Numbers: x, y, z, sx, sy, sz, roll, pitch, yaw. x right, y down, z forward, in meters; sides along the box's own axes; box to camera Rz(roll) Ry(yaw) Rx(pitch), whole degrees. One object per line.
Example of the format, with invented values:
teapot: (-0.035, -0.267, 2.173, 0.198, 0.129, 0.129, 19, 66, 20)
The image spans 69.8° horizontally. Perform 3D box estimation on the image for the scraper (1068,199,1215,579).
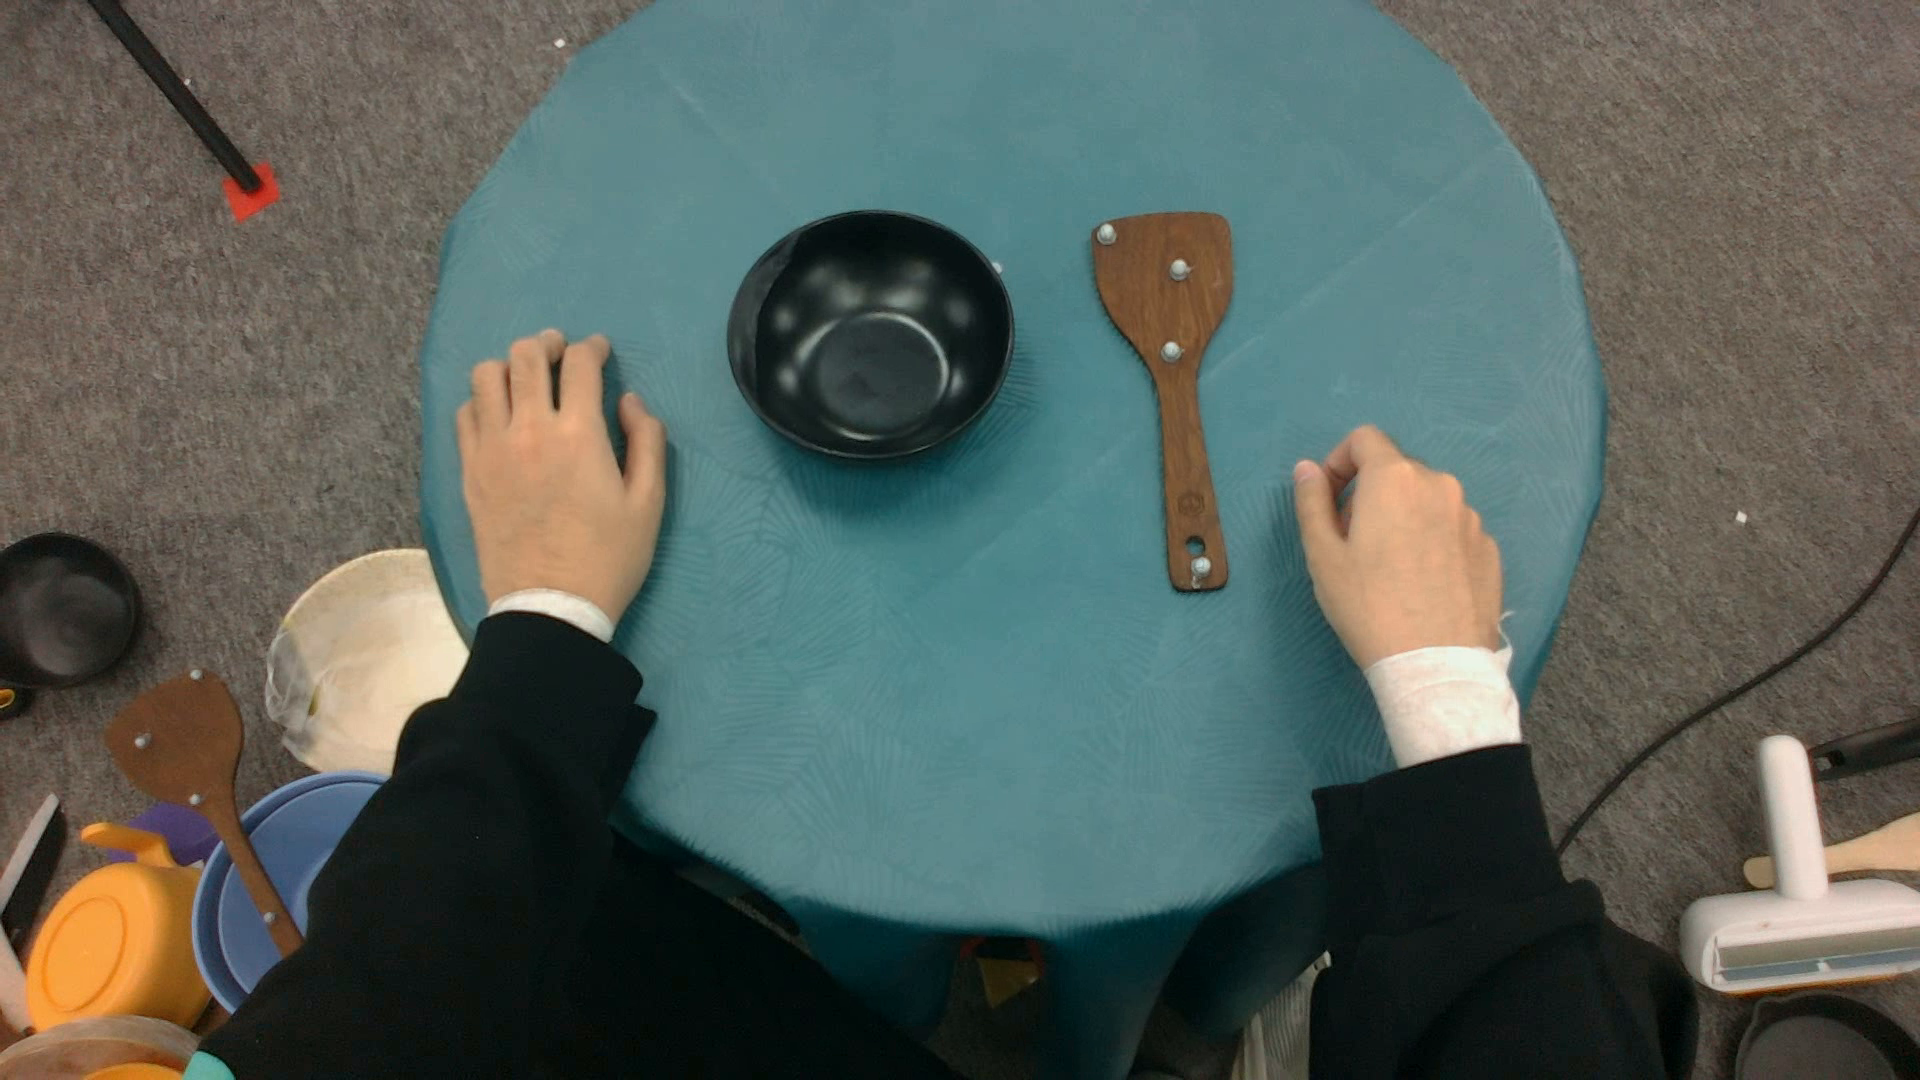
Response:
scraper: (0.099, -0.080, 0.691, 0.076, 0.011, 0.212, -3, 68, 0)

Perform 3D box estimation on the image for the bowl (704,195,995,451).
bowl: (-0.053, -0.099, 0.677, 0.140, 0.049, 0.140, 1, 66, -2)
